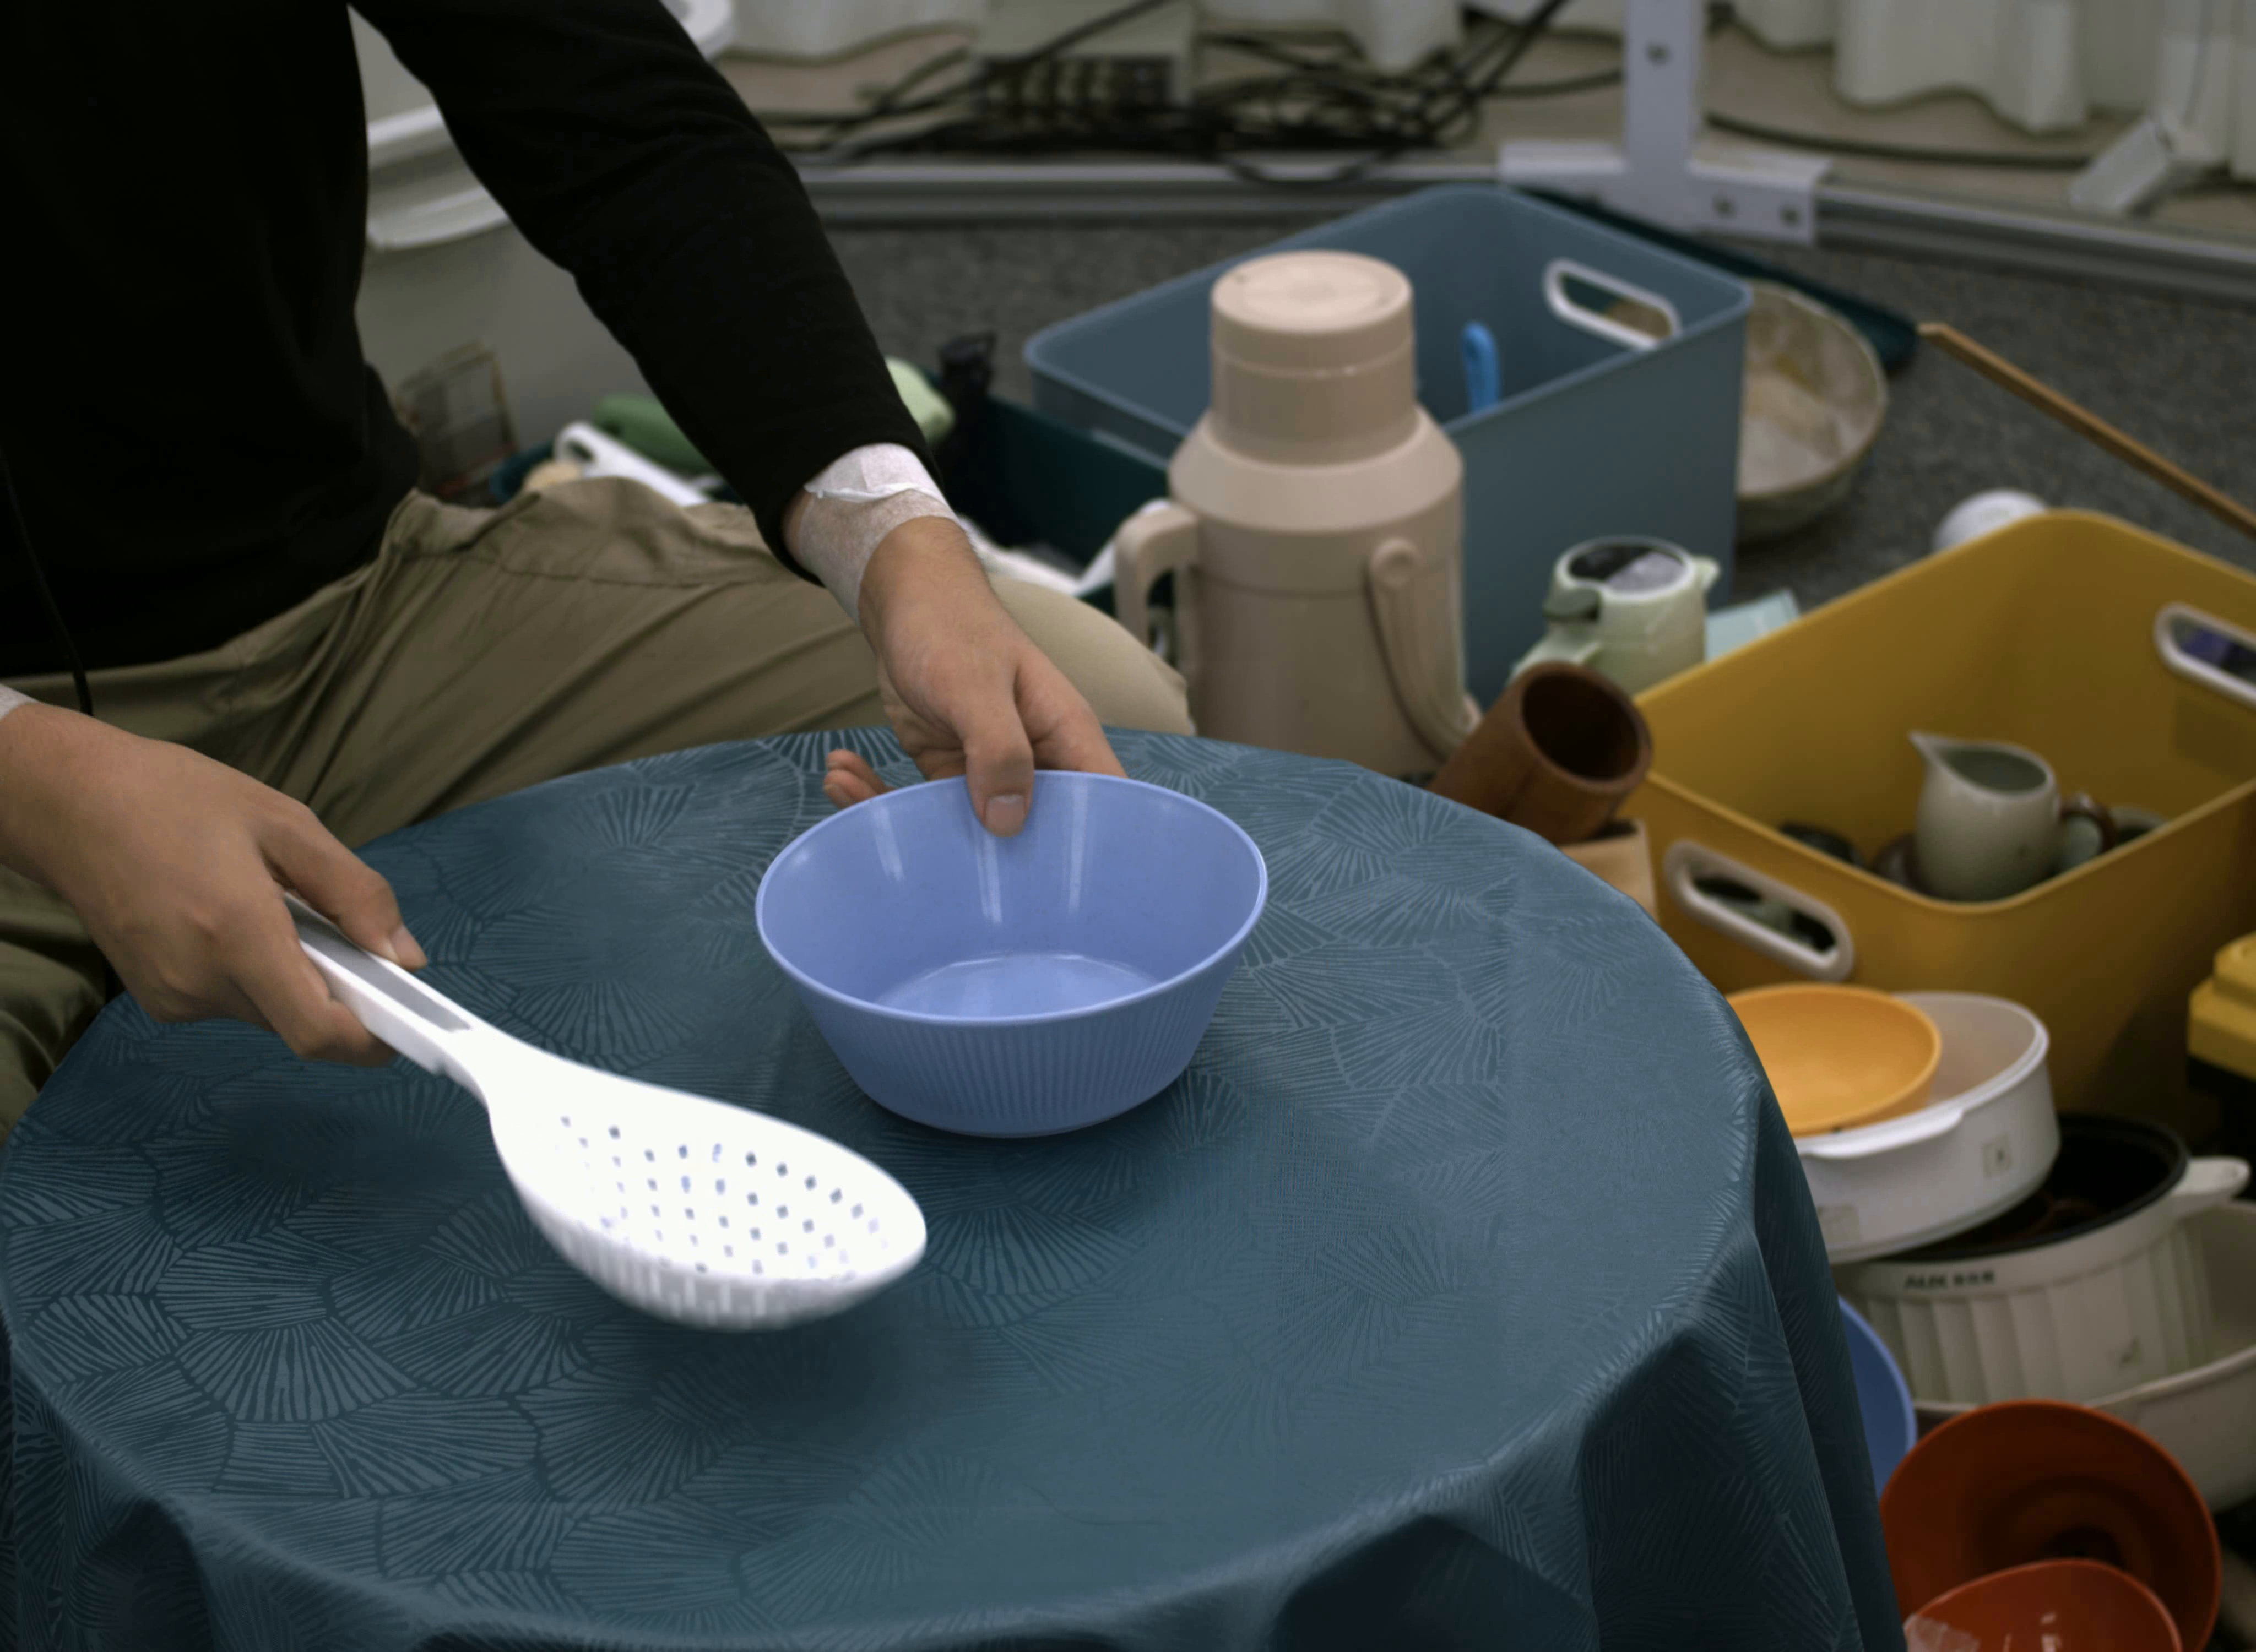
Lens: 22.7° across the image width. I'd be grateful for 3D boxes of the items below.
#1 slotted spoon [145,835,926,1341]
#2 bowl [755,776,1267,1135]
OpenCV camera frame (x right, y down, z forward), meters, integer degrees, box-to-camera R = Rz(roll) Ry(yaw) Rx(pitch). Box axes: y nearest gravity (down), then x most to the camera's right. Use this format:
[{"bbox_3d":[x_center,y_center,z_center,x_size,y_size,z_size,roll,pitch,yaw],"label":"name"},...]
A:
[{"bbox_3d":[-0.206,0.081,1.820,0.351,0.045,0.137,35,27,34],"label":"slotted spoon"},{"bbox_3d":[-0.039,0.050,1.928,0.175,0.069,0.178,-2,26,1],"label":"bowl"}]
